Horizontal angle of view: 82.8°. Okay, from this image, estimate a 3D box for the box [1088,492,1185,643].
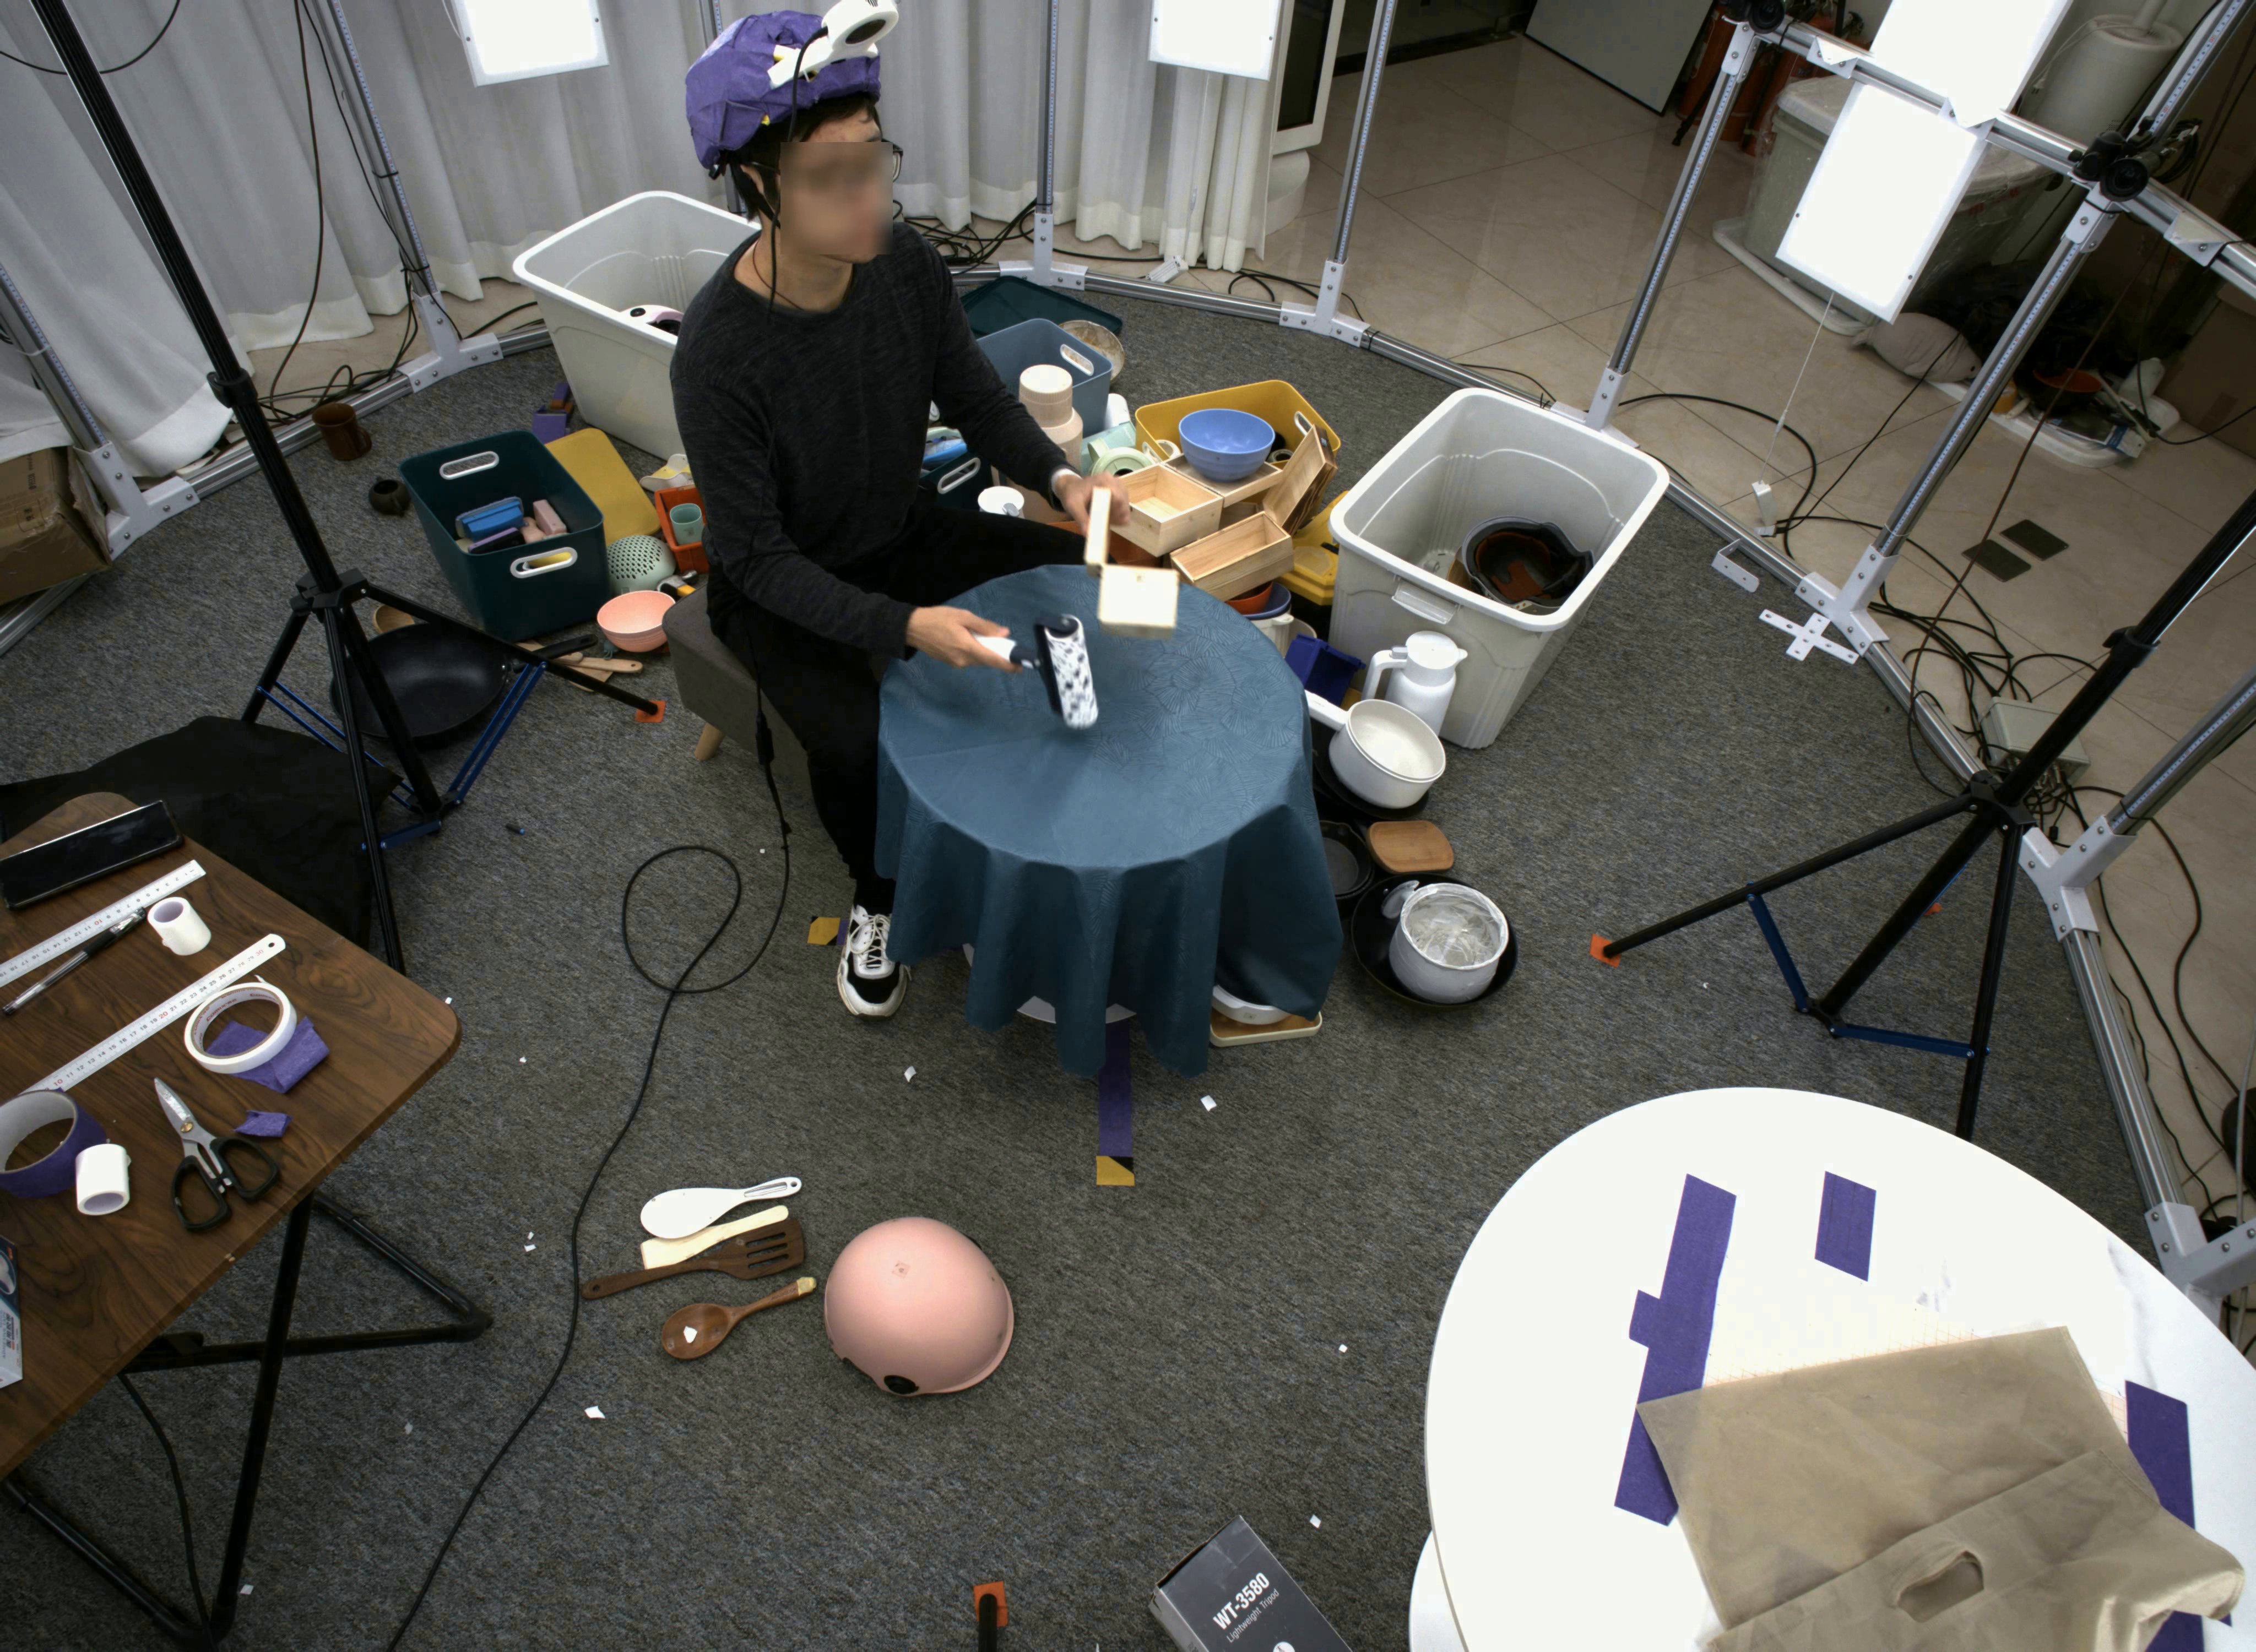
[{"bbox_3d":[0.014,-0.355,1.775,0.134,0.102,0.185,3,87,0],"label":"box"}]

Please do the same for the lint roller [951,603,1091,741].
[{"bbox_3d":[-0.152,-0.235,1.737,0.250,0.172,0.051,33,52,24],"label":"lint roller"}]
